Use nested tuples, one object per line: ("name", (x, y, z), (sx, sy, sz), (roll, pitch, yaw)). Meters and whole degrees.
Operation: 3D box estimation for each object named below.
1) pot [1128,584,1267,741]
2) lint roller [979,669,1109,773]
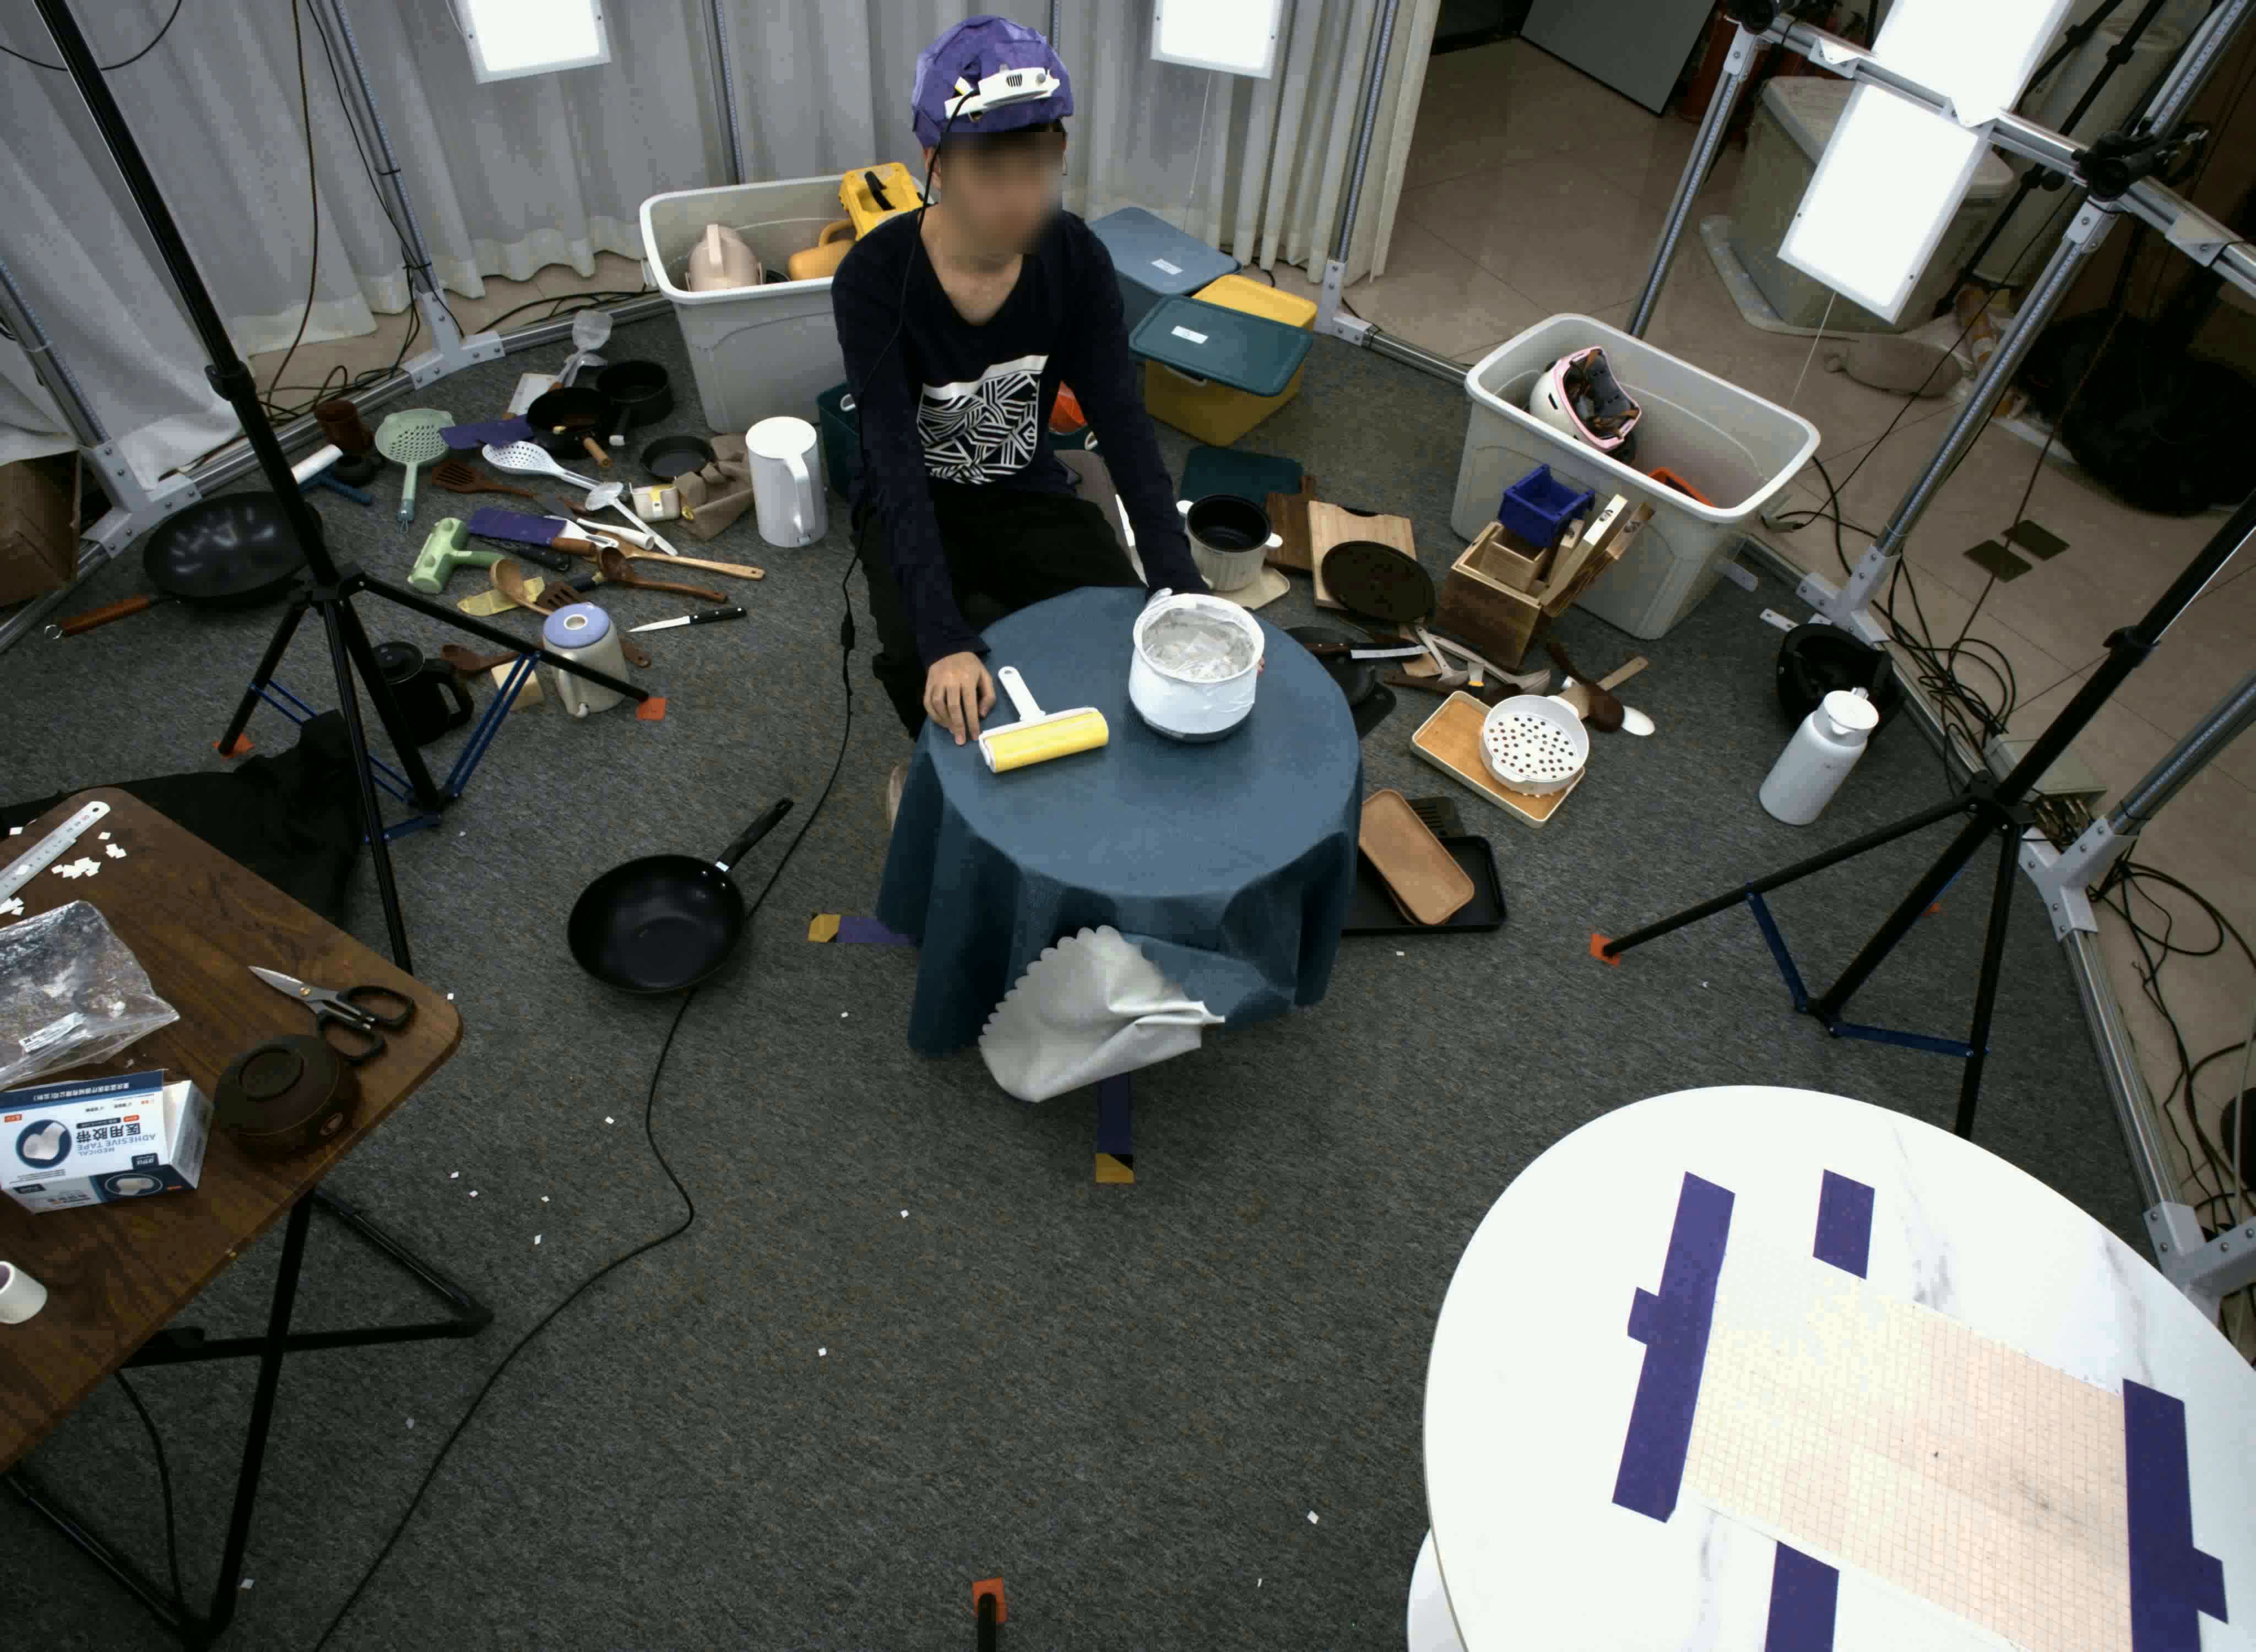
("pot", (0.080, -0.237, 1.784), (0.179, 0.133, 0.239), (-17, 55, -21))
("lint roller", (-0.139, -0.164, 1.769), (0.174, 0.050, 0.196), (-16, 53, -18))
